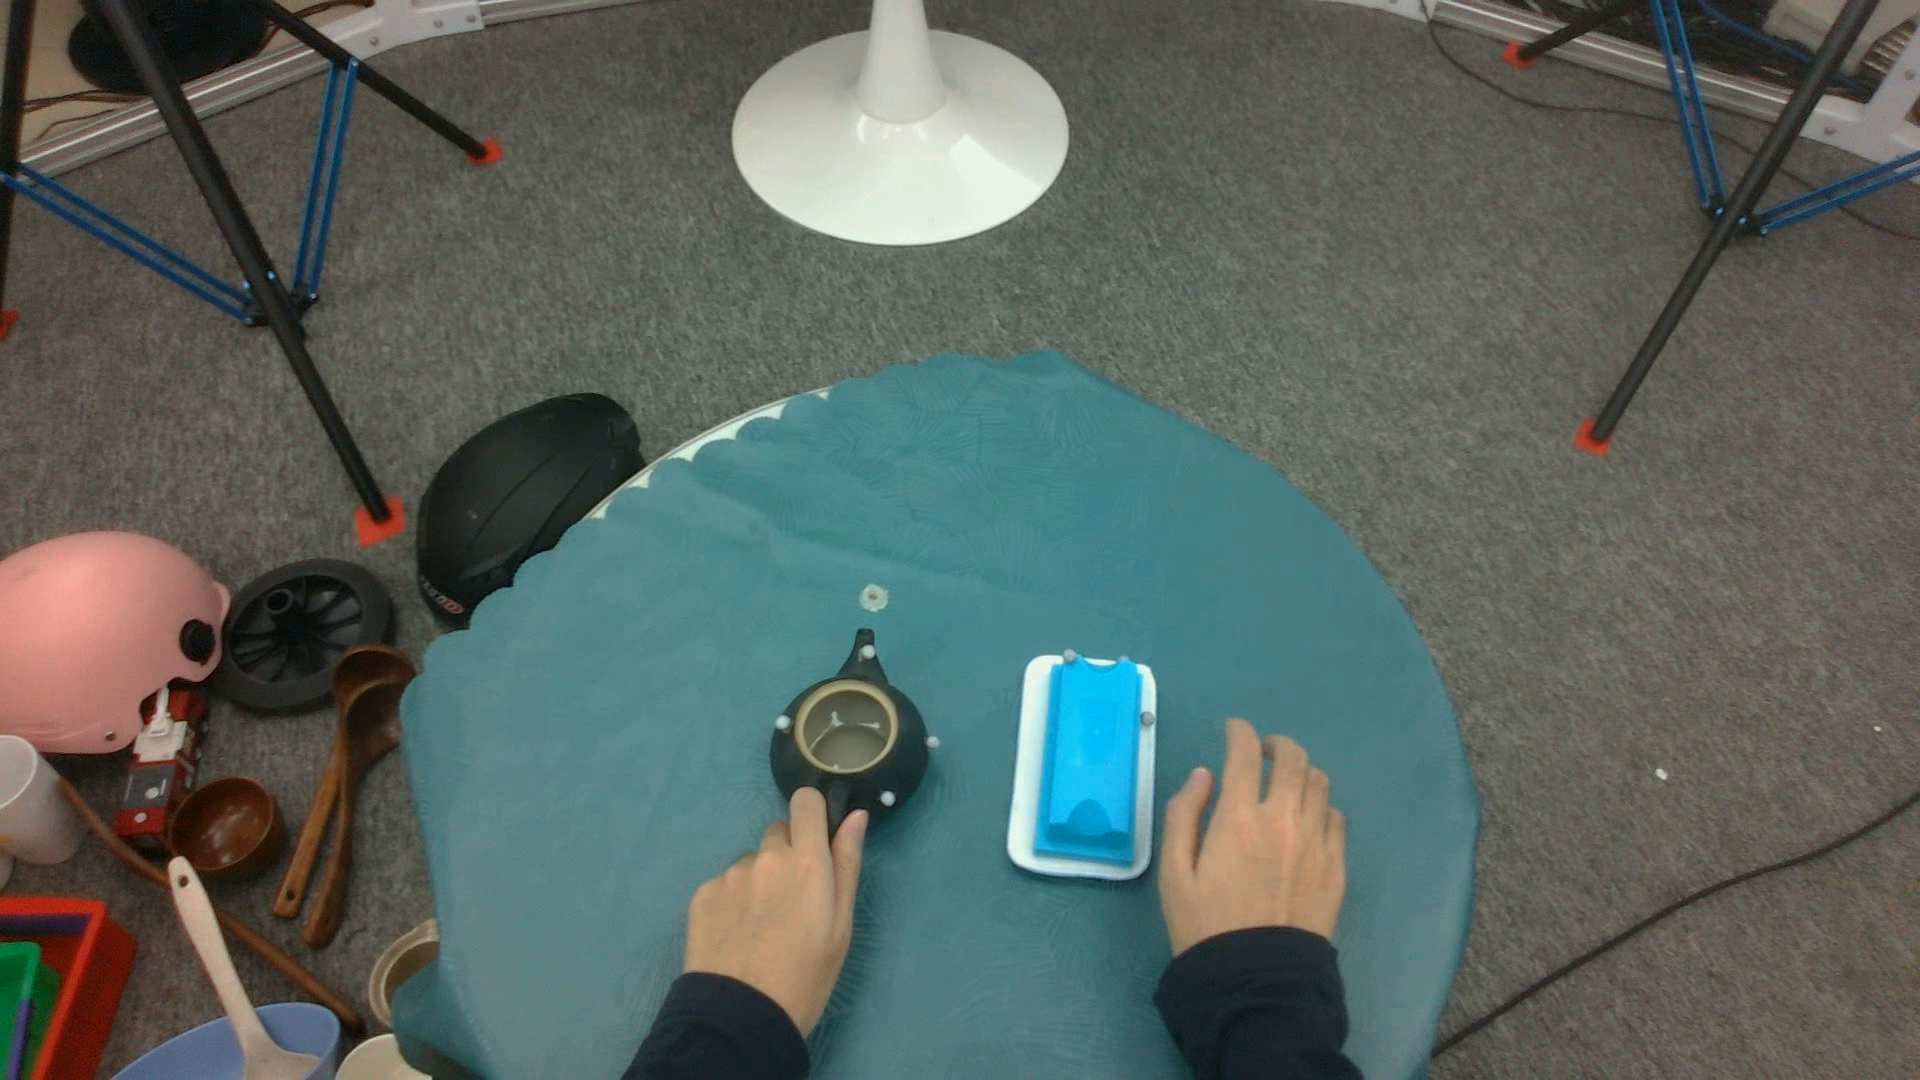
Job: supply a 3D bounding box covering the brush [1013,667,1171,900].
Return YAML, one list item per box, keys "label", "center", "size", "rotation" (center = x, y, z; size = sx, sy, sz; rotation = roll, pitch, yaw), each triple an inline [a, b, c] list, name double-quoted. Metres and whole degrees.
- label: "brush"
  center: [0.078, 0.131, 0.787]
  size: [0.084, 0.055, 0.144]
  rotation: [5, 50, 7]

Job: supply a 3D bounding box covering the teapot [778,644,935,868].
- label: "teapot"
  center: [-0.060, 0.127, 0.791]
  size: [0.091, 0.053, 0.134]
  rotation: [5, 52, 4]
